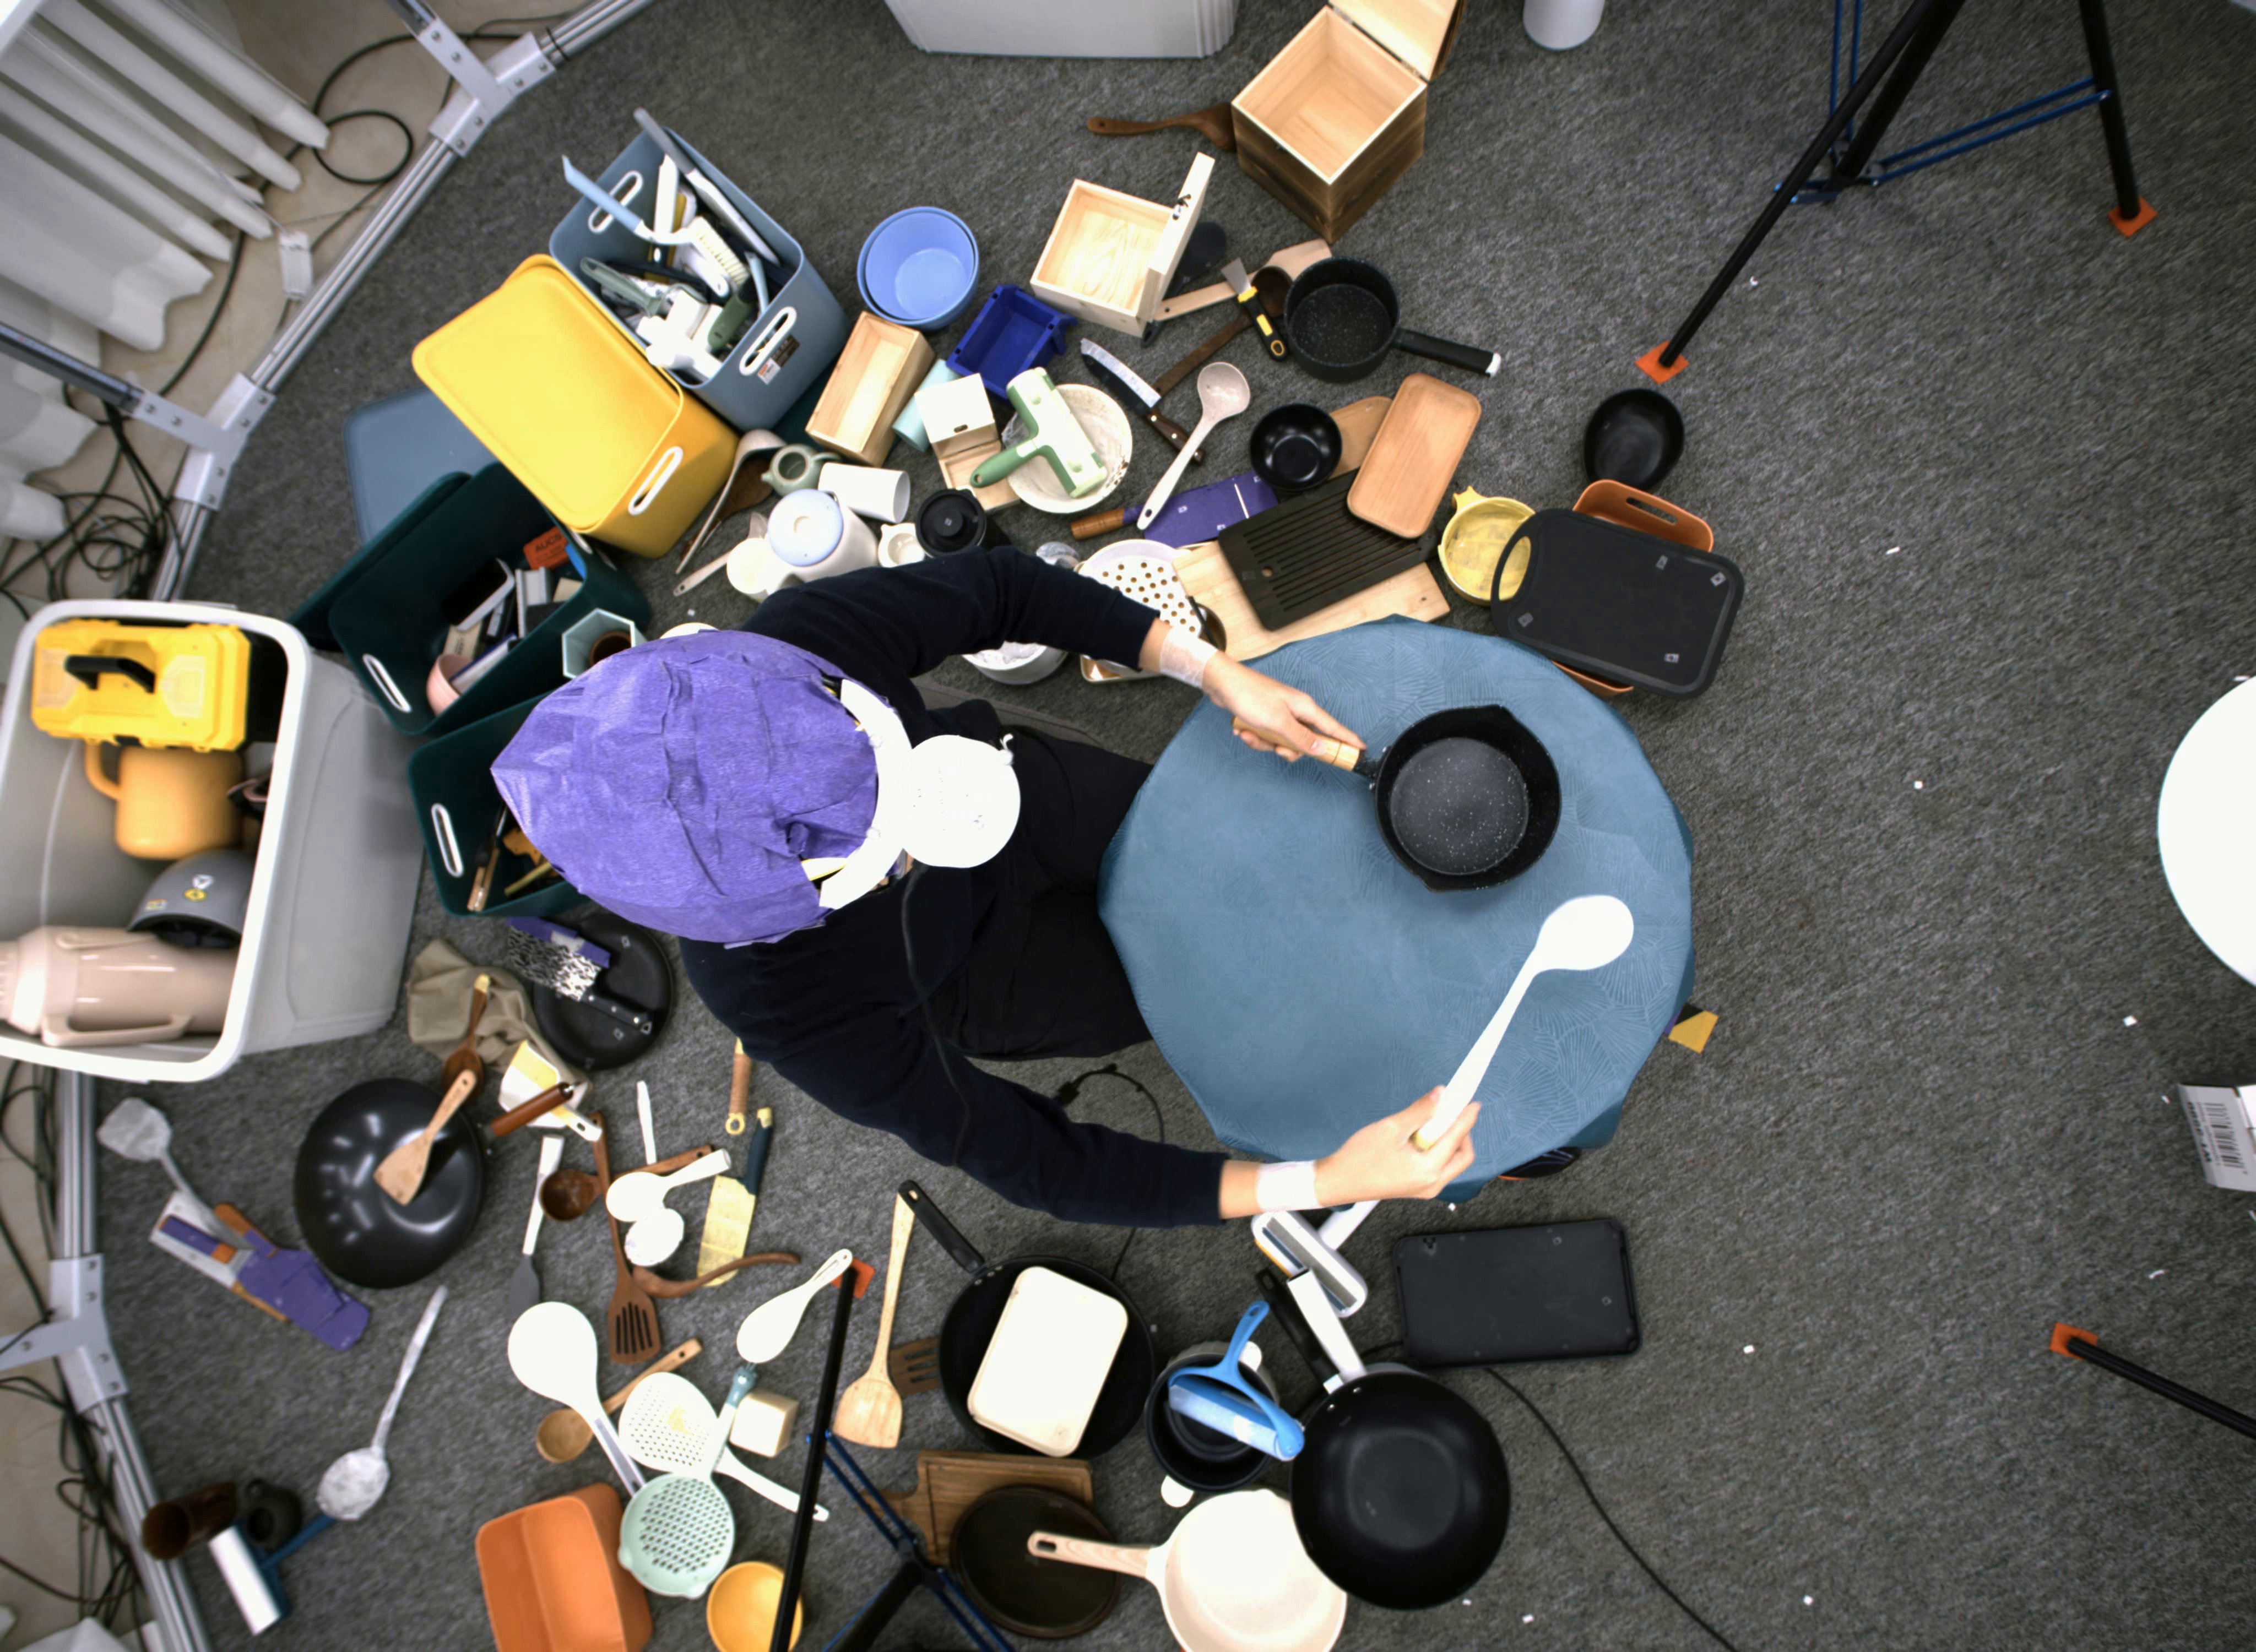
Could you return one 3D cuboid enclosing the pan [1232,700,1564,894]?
[{"bbox_3d":[0.267,-0.053,1.404,0.343,0.108,0.207,19,91,6],"label":"pan"}]

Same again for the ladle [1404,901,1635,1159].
[{"bbox_3d":[0.357,0.182,1.246,0.069,0.092,0.289,25,69,40],"label":"ladle"}]
